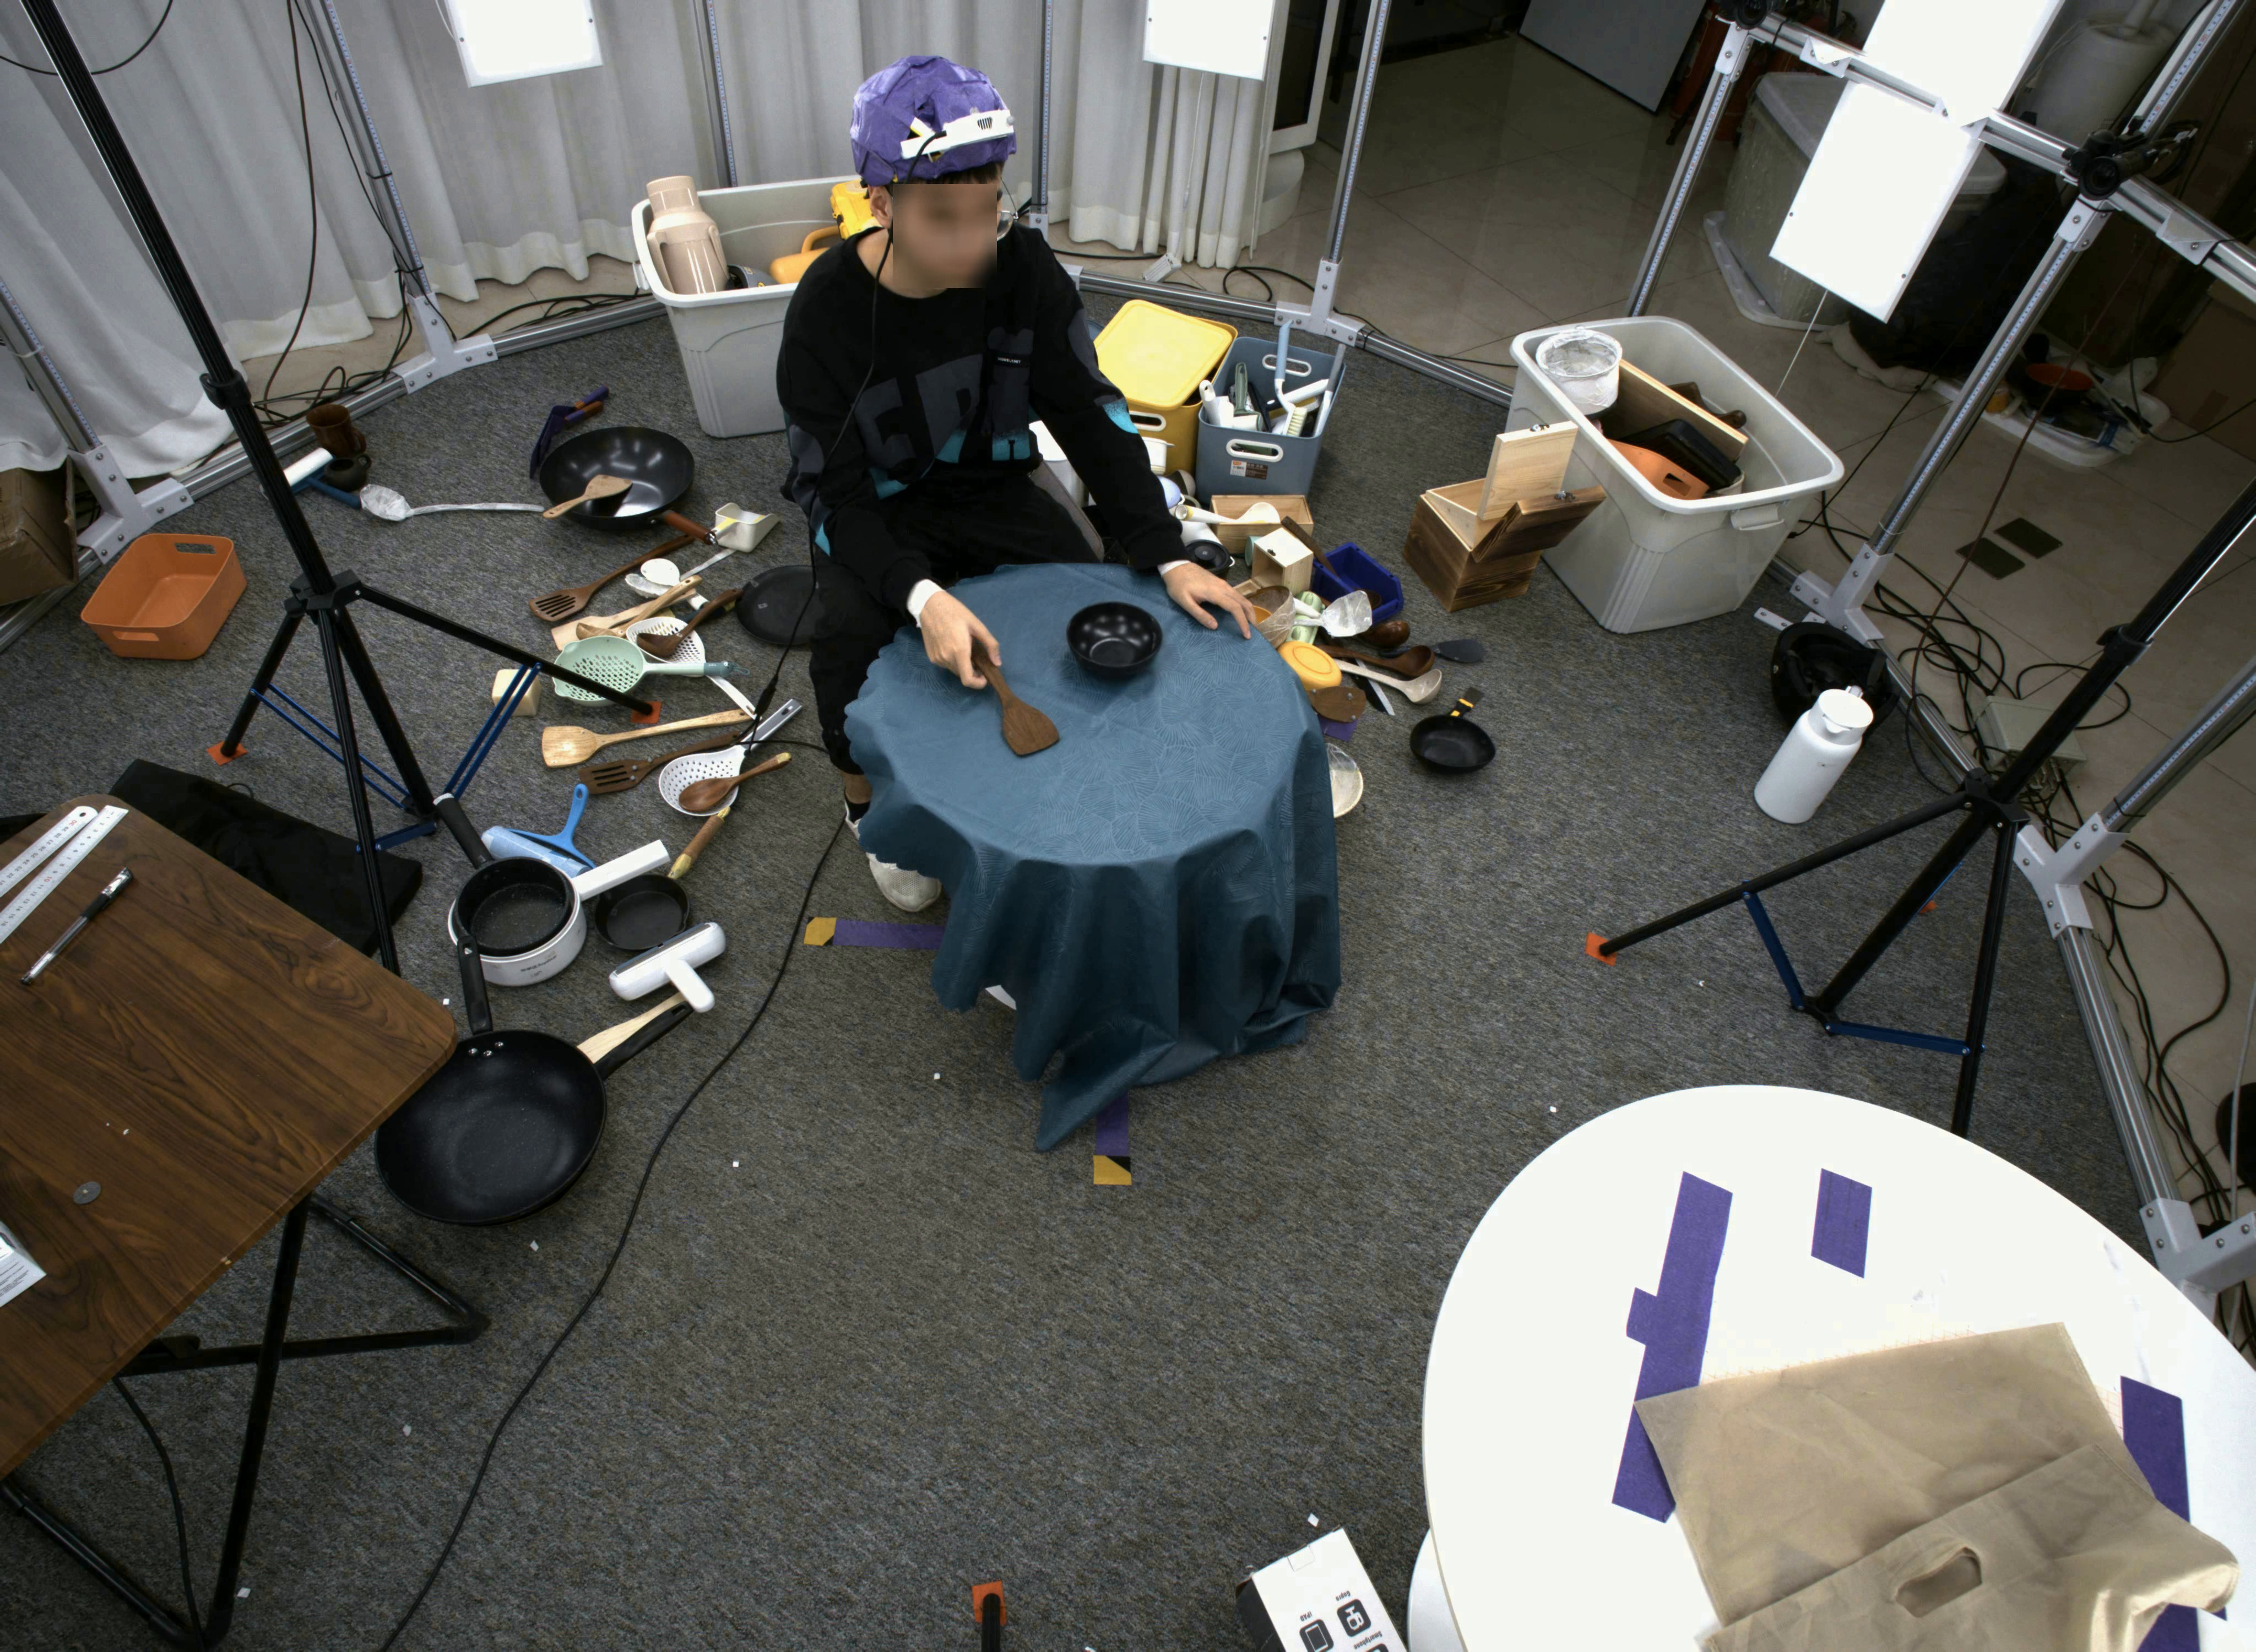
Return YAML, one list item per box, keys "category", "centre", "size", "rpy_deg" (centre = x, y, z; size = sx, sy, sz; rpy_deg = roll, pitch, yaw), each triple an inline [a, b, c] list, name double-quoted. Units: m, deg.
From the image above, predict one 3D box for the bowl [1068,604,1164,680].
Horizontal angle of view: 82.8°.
- category: "bowl"
  centre: [-0.017, -0.261, 1.879]
  size: [0.140, 0.048, 0.143]
  rpy_deg: [0, 50, -1]

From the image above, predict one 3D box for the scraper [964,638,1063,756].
- category: "scraper"
  centre: [-0.171, -0.185, 1.808]
  size: [0.076, 0.010, 0.215]
  rpy_deg: [-23, 65, -24]
